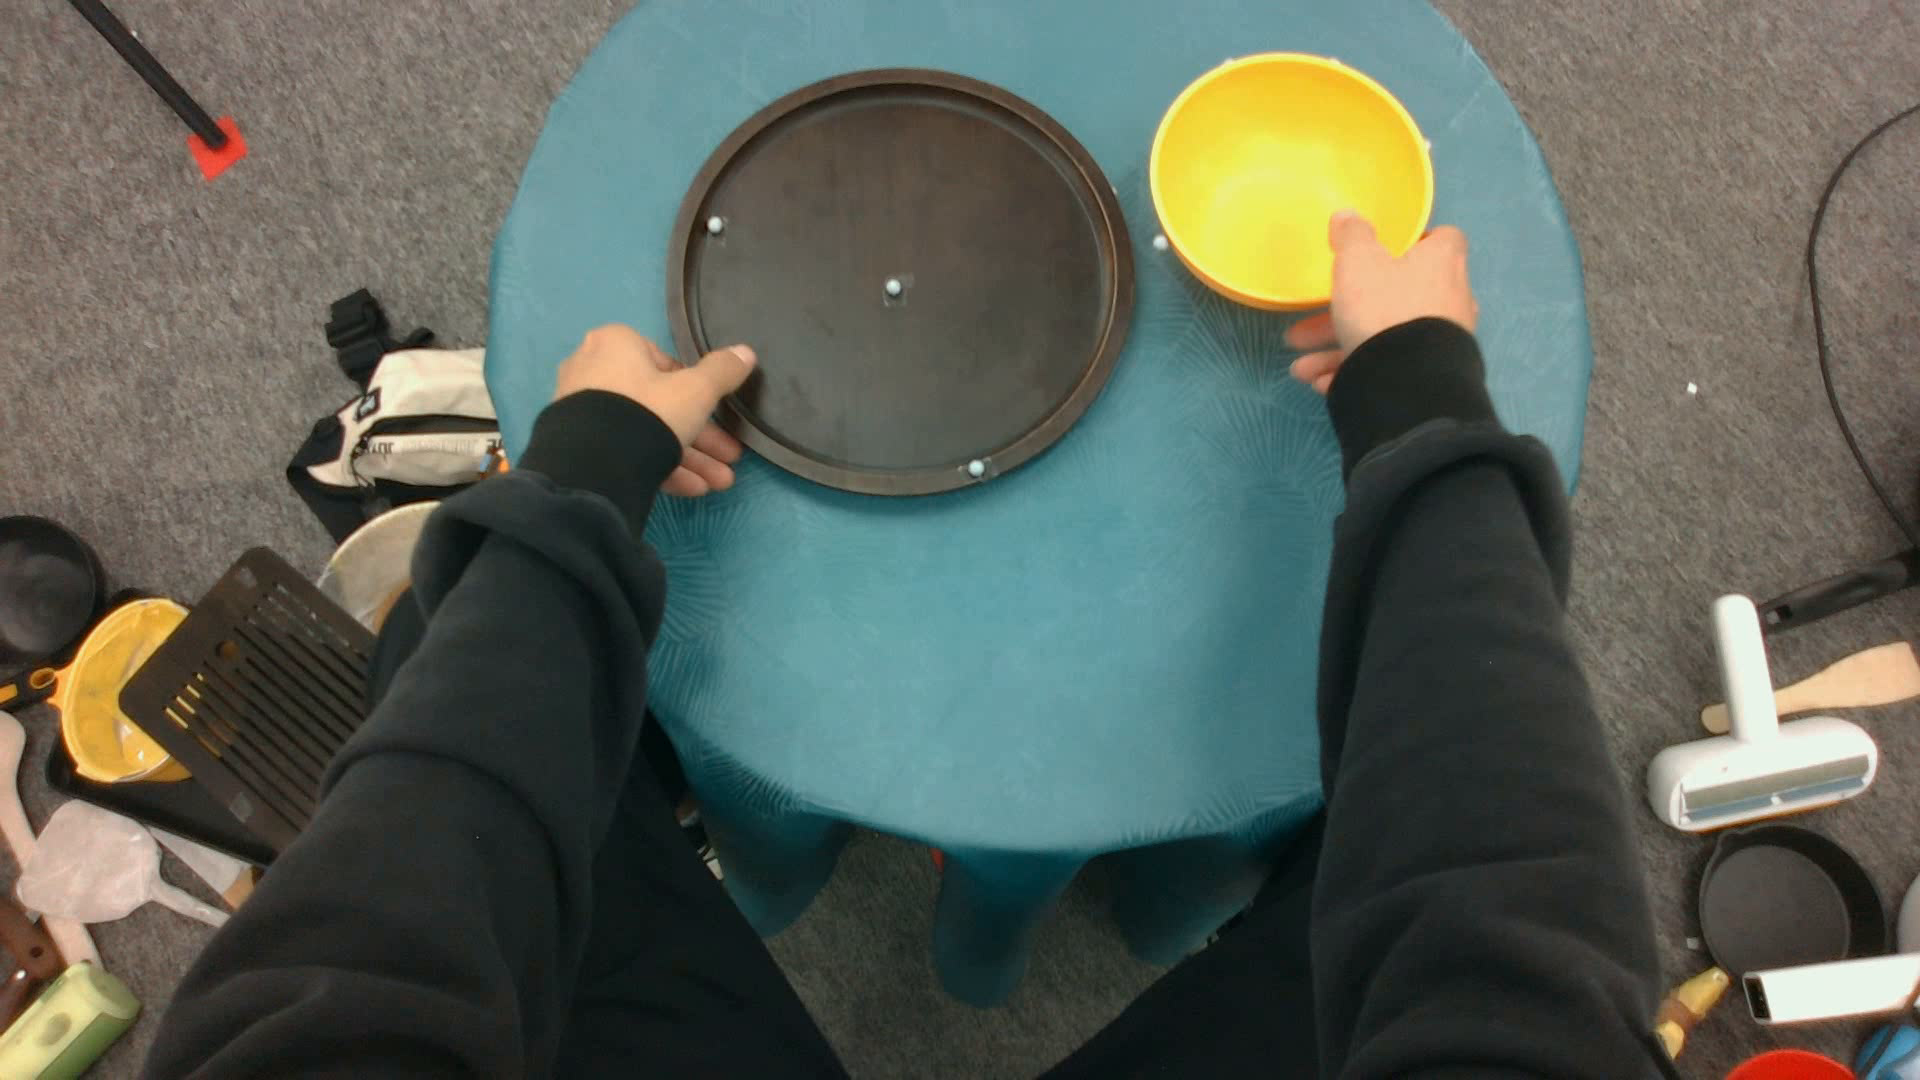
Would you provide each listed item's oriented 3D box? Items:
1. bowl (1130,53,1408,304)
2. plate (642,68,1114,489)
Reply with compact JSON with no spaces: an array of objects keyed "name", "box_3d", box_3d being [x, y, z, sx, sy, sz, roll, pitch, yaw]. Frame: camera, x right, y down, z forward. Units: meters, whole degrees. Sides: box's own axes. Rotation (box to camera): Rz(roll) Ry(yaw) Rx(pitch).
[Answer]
[{"name":"bowl","box_3d":[0.162,-0.185,0.745,0.145,0.060,0.145,0,74,1]},{"name":"plate","box_3d":[-0.043,-0.145,0.747,0.255,0.029,0.255,1,73,-3]}]
